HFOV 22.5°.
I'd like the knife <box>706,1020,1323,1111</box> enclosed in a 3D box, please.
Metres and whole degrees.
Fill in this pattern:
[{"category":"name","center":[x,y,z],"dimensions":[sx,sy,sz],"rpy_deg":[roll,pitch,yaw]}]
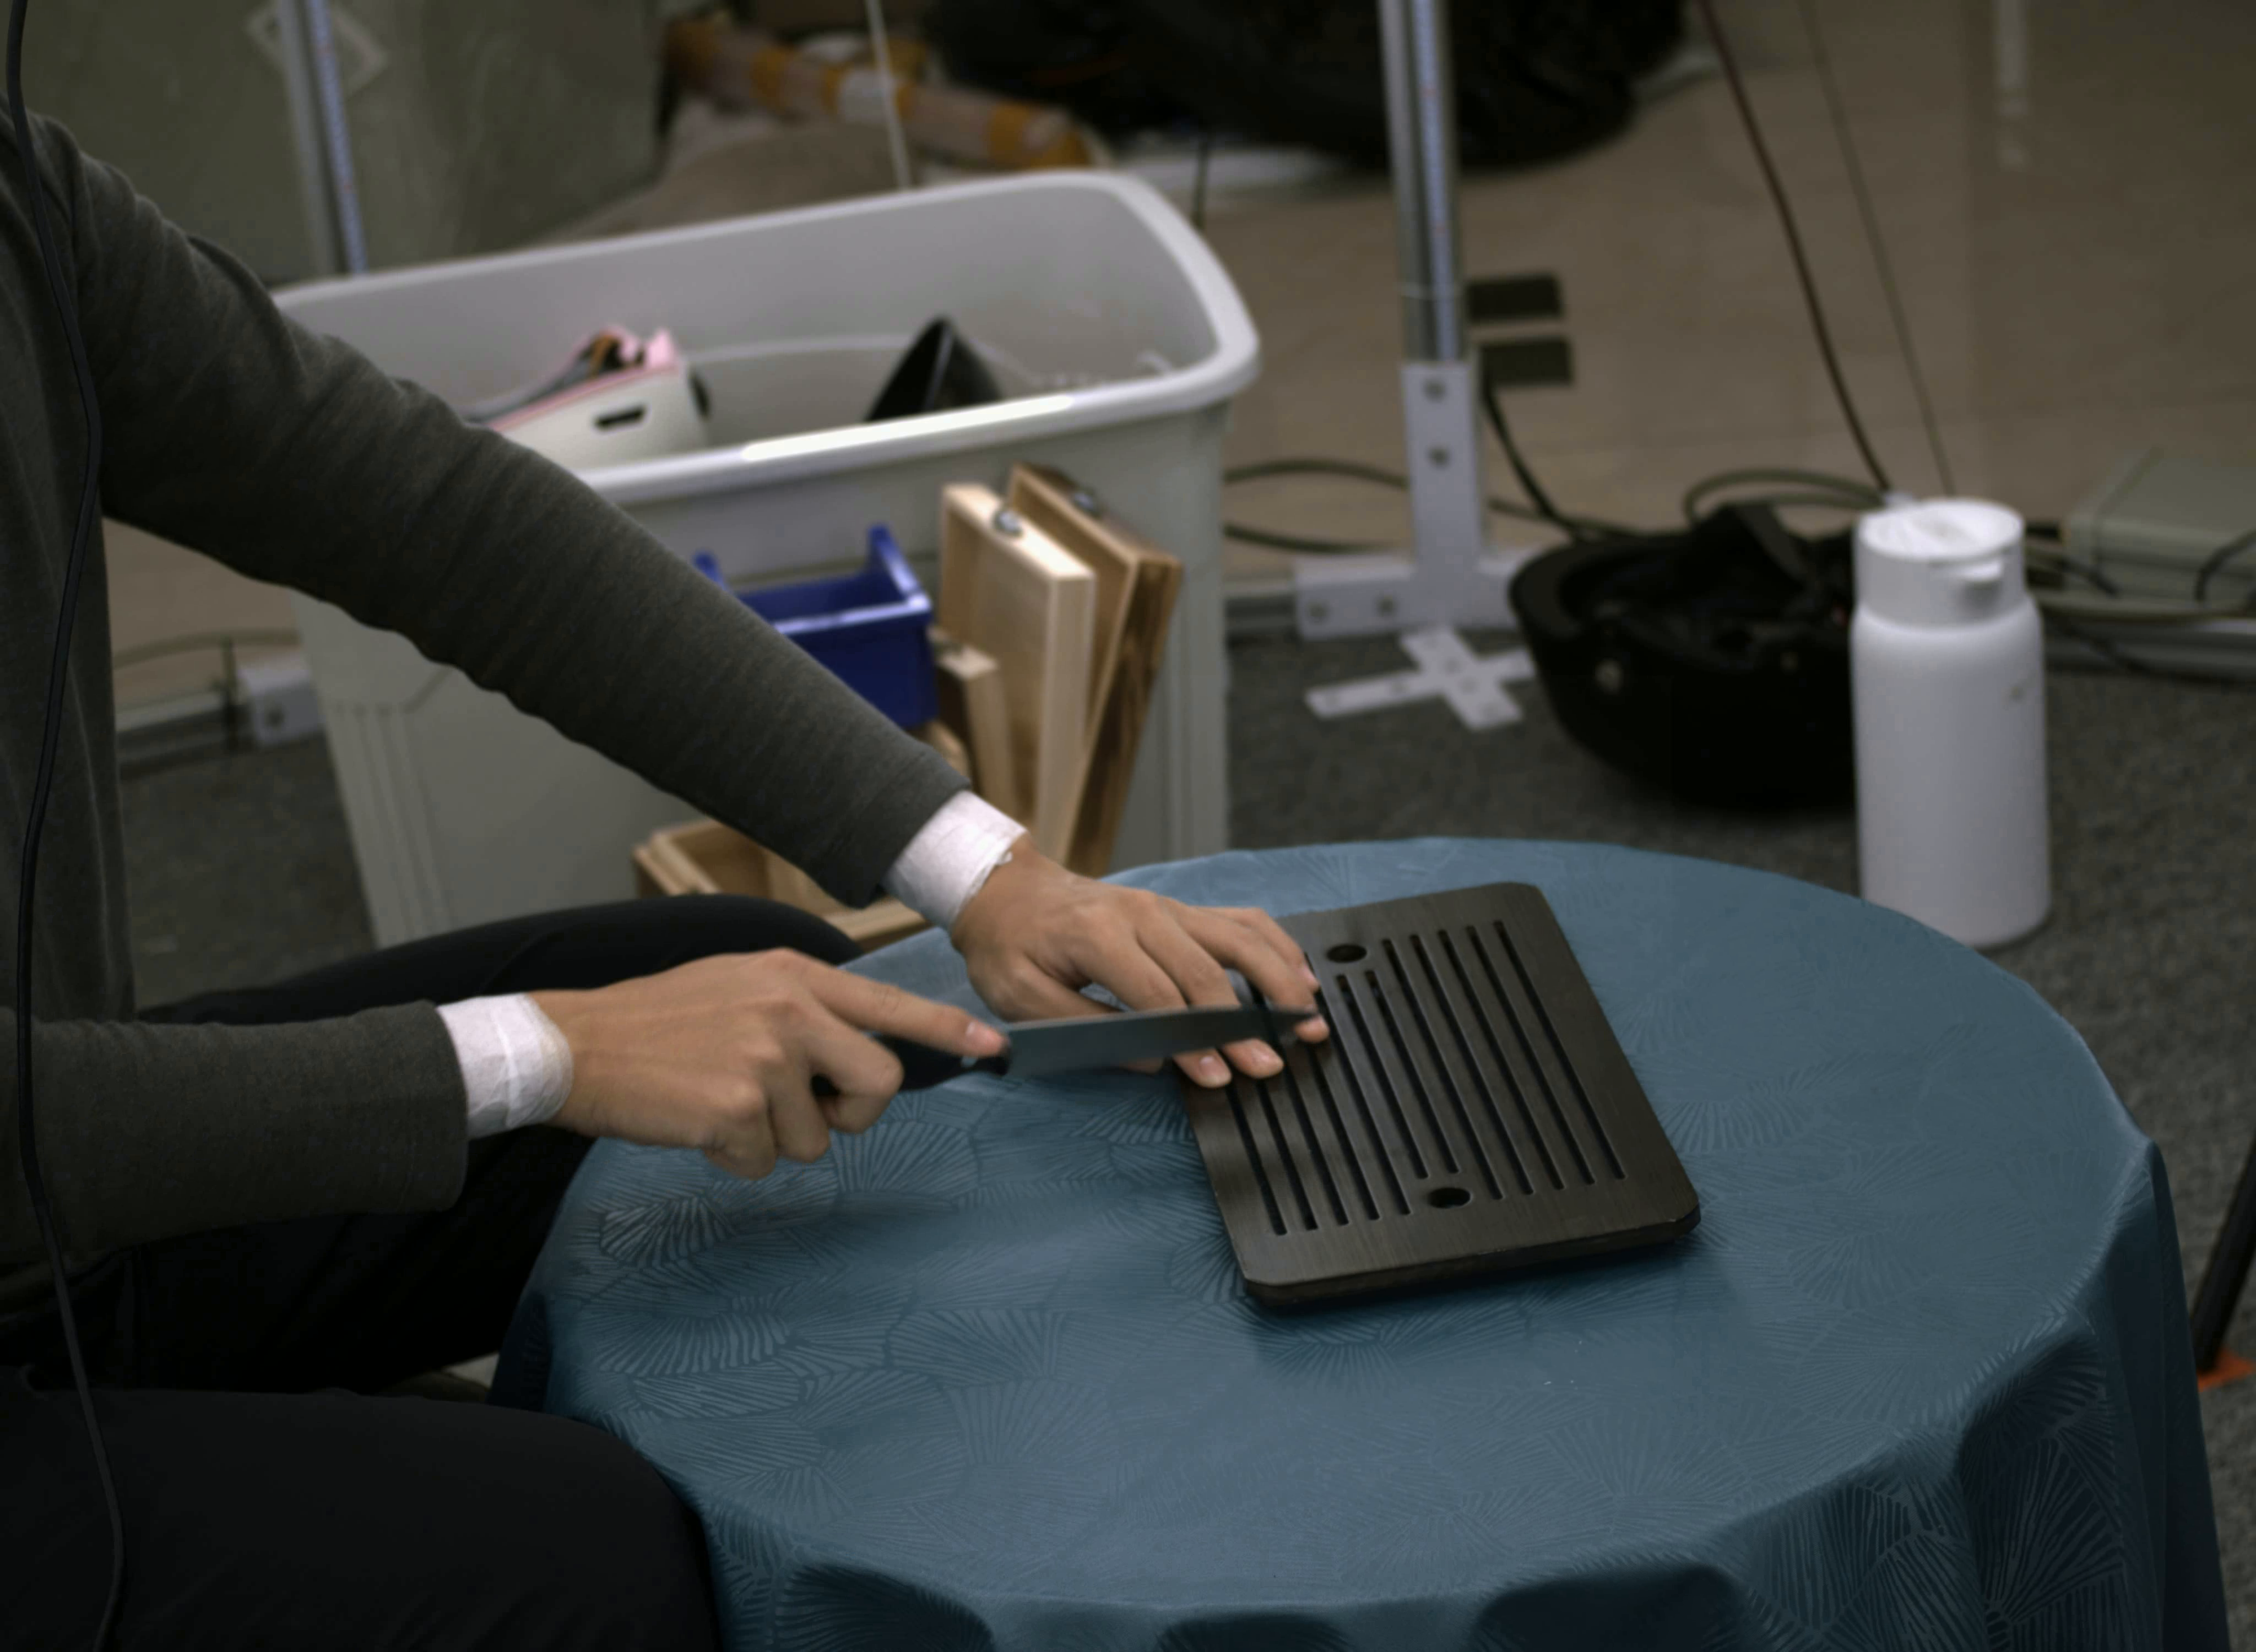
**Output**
[{"category":"knife","center":[-0.042,0.087,2.151],"dimensions":[0.238,0.025,0.016],"rpy_deg":[-5,23,-9]}]

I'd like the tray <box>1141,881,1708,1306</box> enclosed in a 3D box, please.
[{"category":"tray","center":[0.109,0.101,2.186],"dimensions":[0.170,0.019,0.301],"rpy_deg":[-9,25,-5]}]
